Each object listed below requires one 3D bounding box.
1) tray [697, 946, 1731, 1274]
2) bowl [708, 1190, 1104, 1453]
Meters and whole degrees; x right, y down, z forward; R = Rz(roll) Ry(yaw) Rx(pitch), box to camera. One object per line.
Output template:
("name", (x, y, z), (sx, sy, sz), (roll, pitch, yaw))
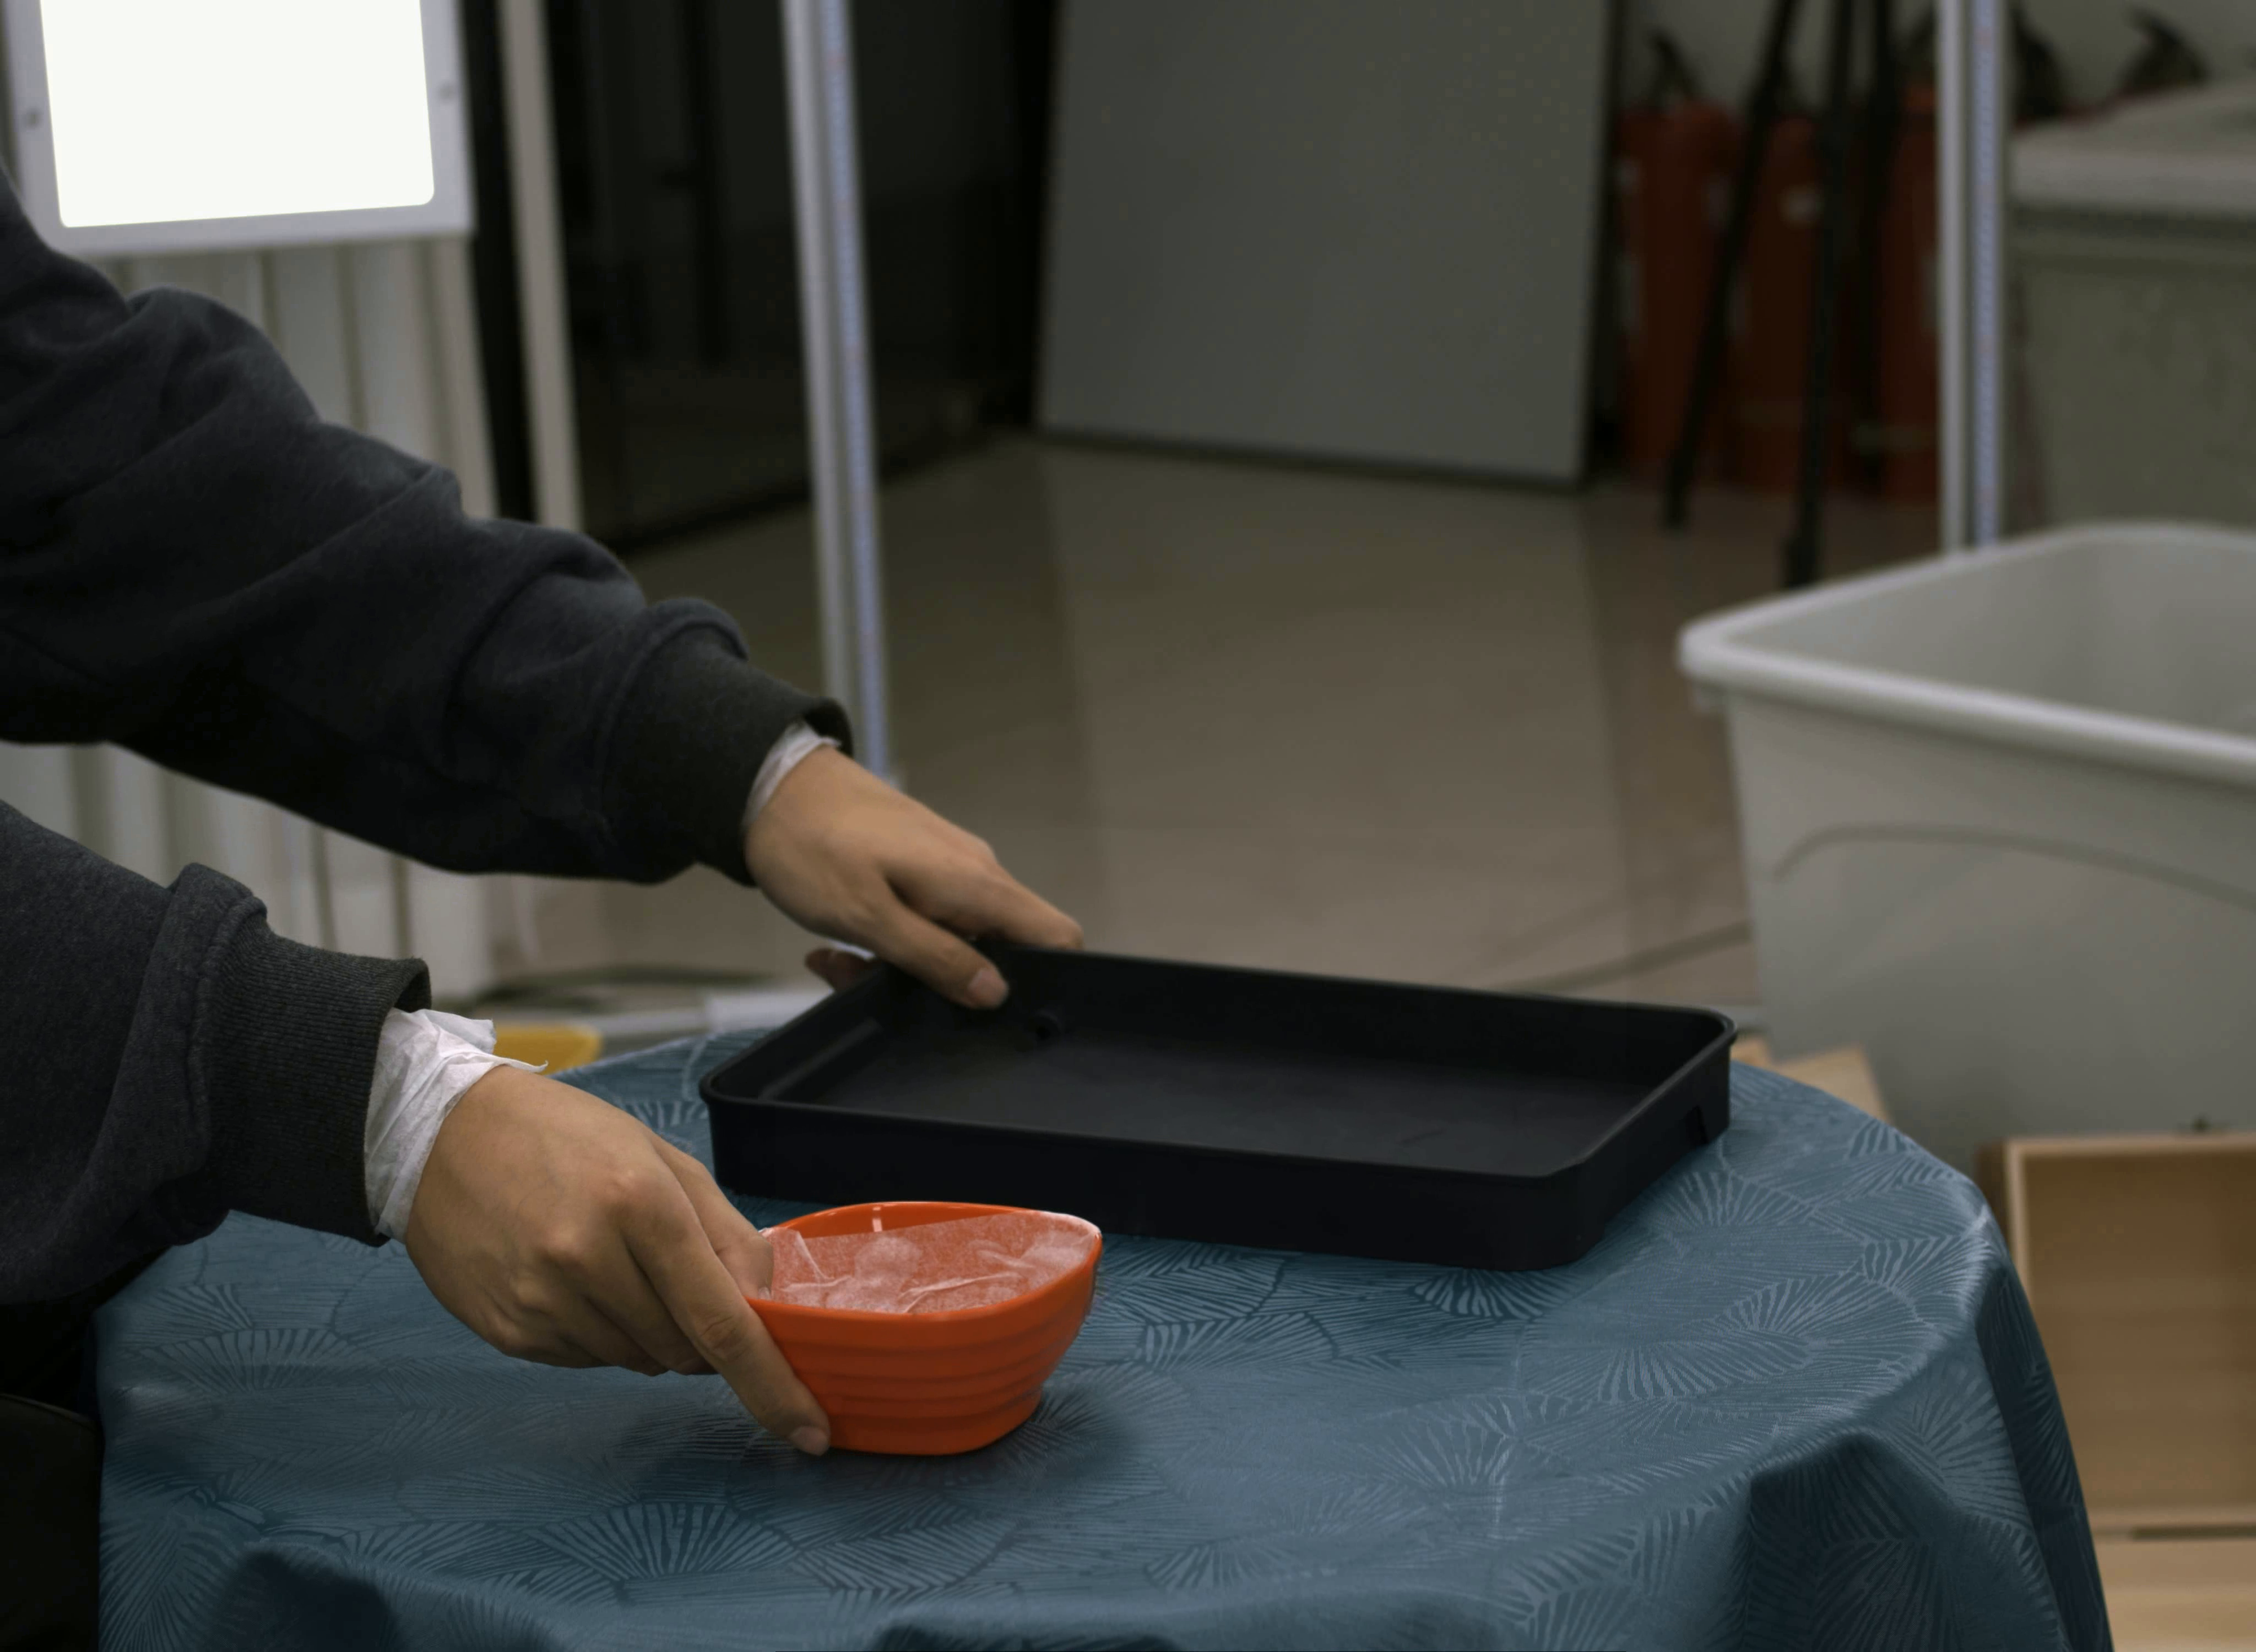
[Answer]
("tray", (0.030, 0.092, 1.799), (0.318, 0.037, 0.182), (4, 16, 27))
("bowl", (-0.063, 0.146, 1.566), (0.117, 0.052, 0.119), (-3, 13, 0))
